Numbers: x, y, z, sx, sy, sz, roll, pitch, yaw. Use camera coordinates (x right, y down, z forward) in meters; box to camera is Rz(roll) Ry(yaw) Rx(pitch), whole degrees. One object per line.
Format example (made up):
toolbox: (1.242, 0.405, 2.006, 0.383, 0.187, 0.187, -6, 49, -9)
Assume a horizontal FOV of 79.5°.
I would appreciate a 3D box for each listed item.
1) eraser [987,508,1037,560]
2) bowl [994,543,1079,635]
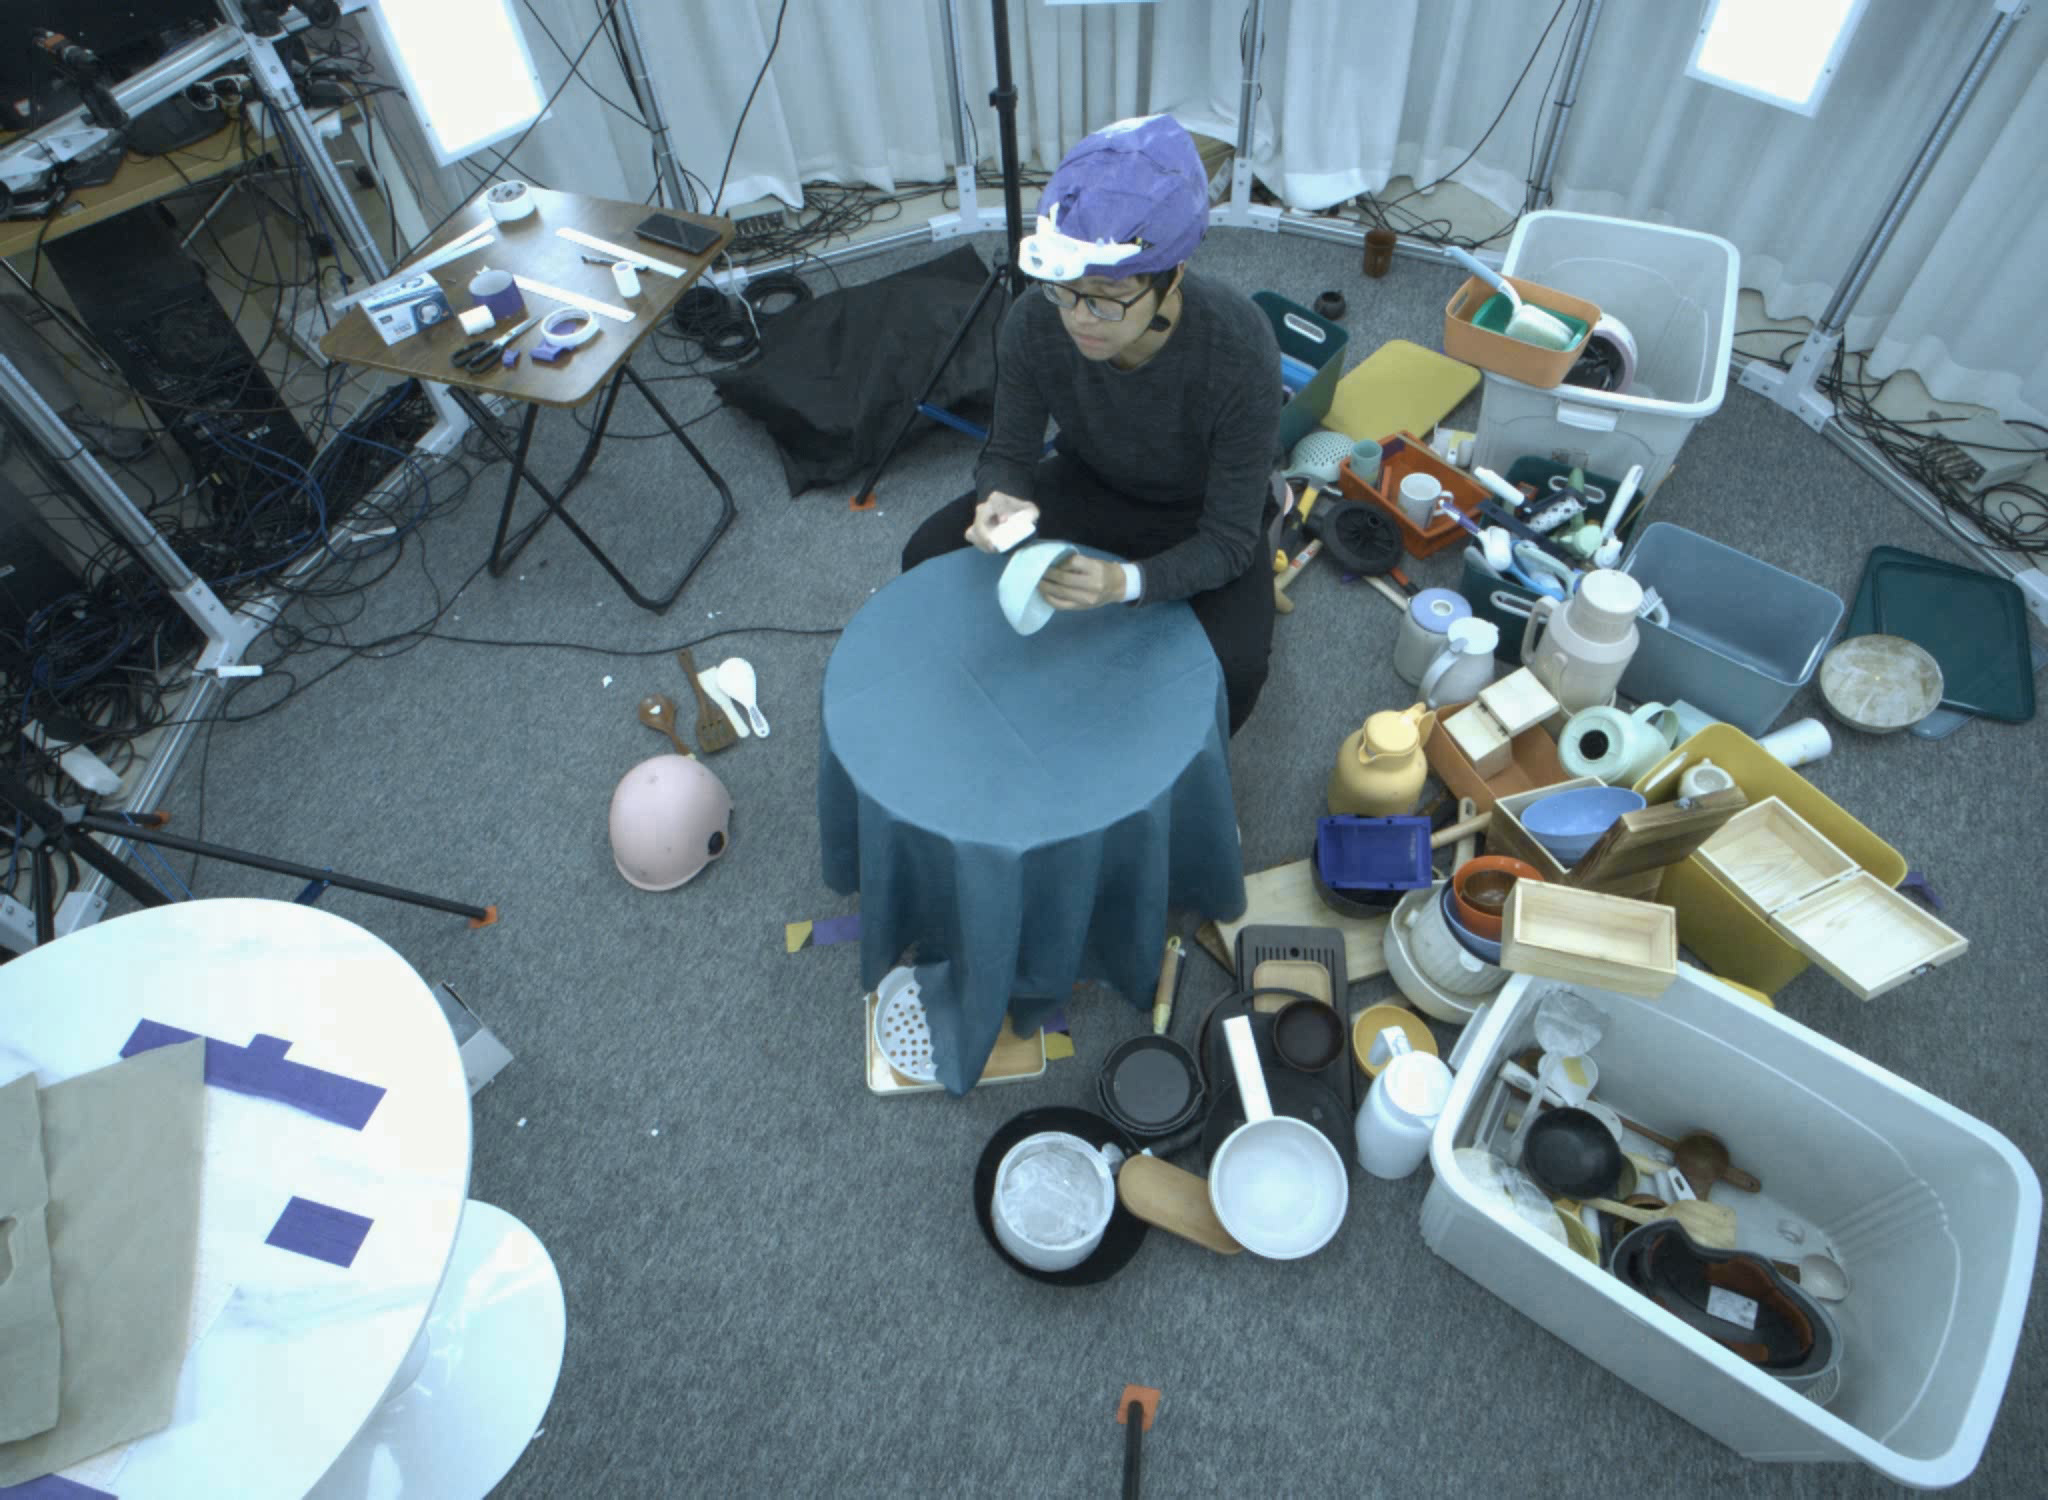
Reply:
eraser: (-0.018, -0.304, 1.710, 0.063, 0.035, 0.130, -32, 20, 6)
bowl: (0.010, -0.233, 1.699, 0.058, 0.152, 0.152, 34, 63, 14)
